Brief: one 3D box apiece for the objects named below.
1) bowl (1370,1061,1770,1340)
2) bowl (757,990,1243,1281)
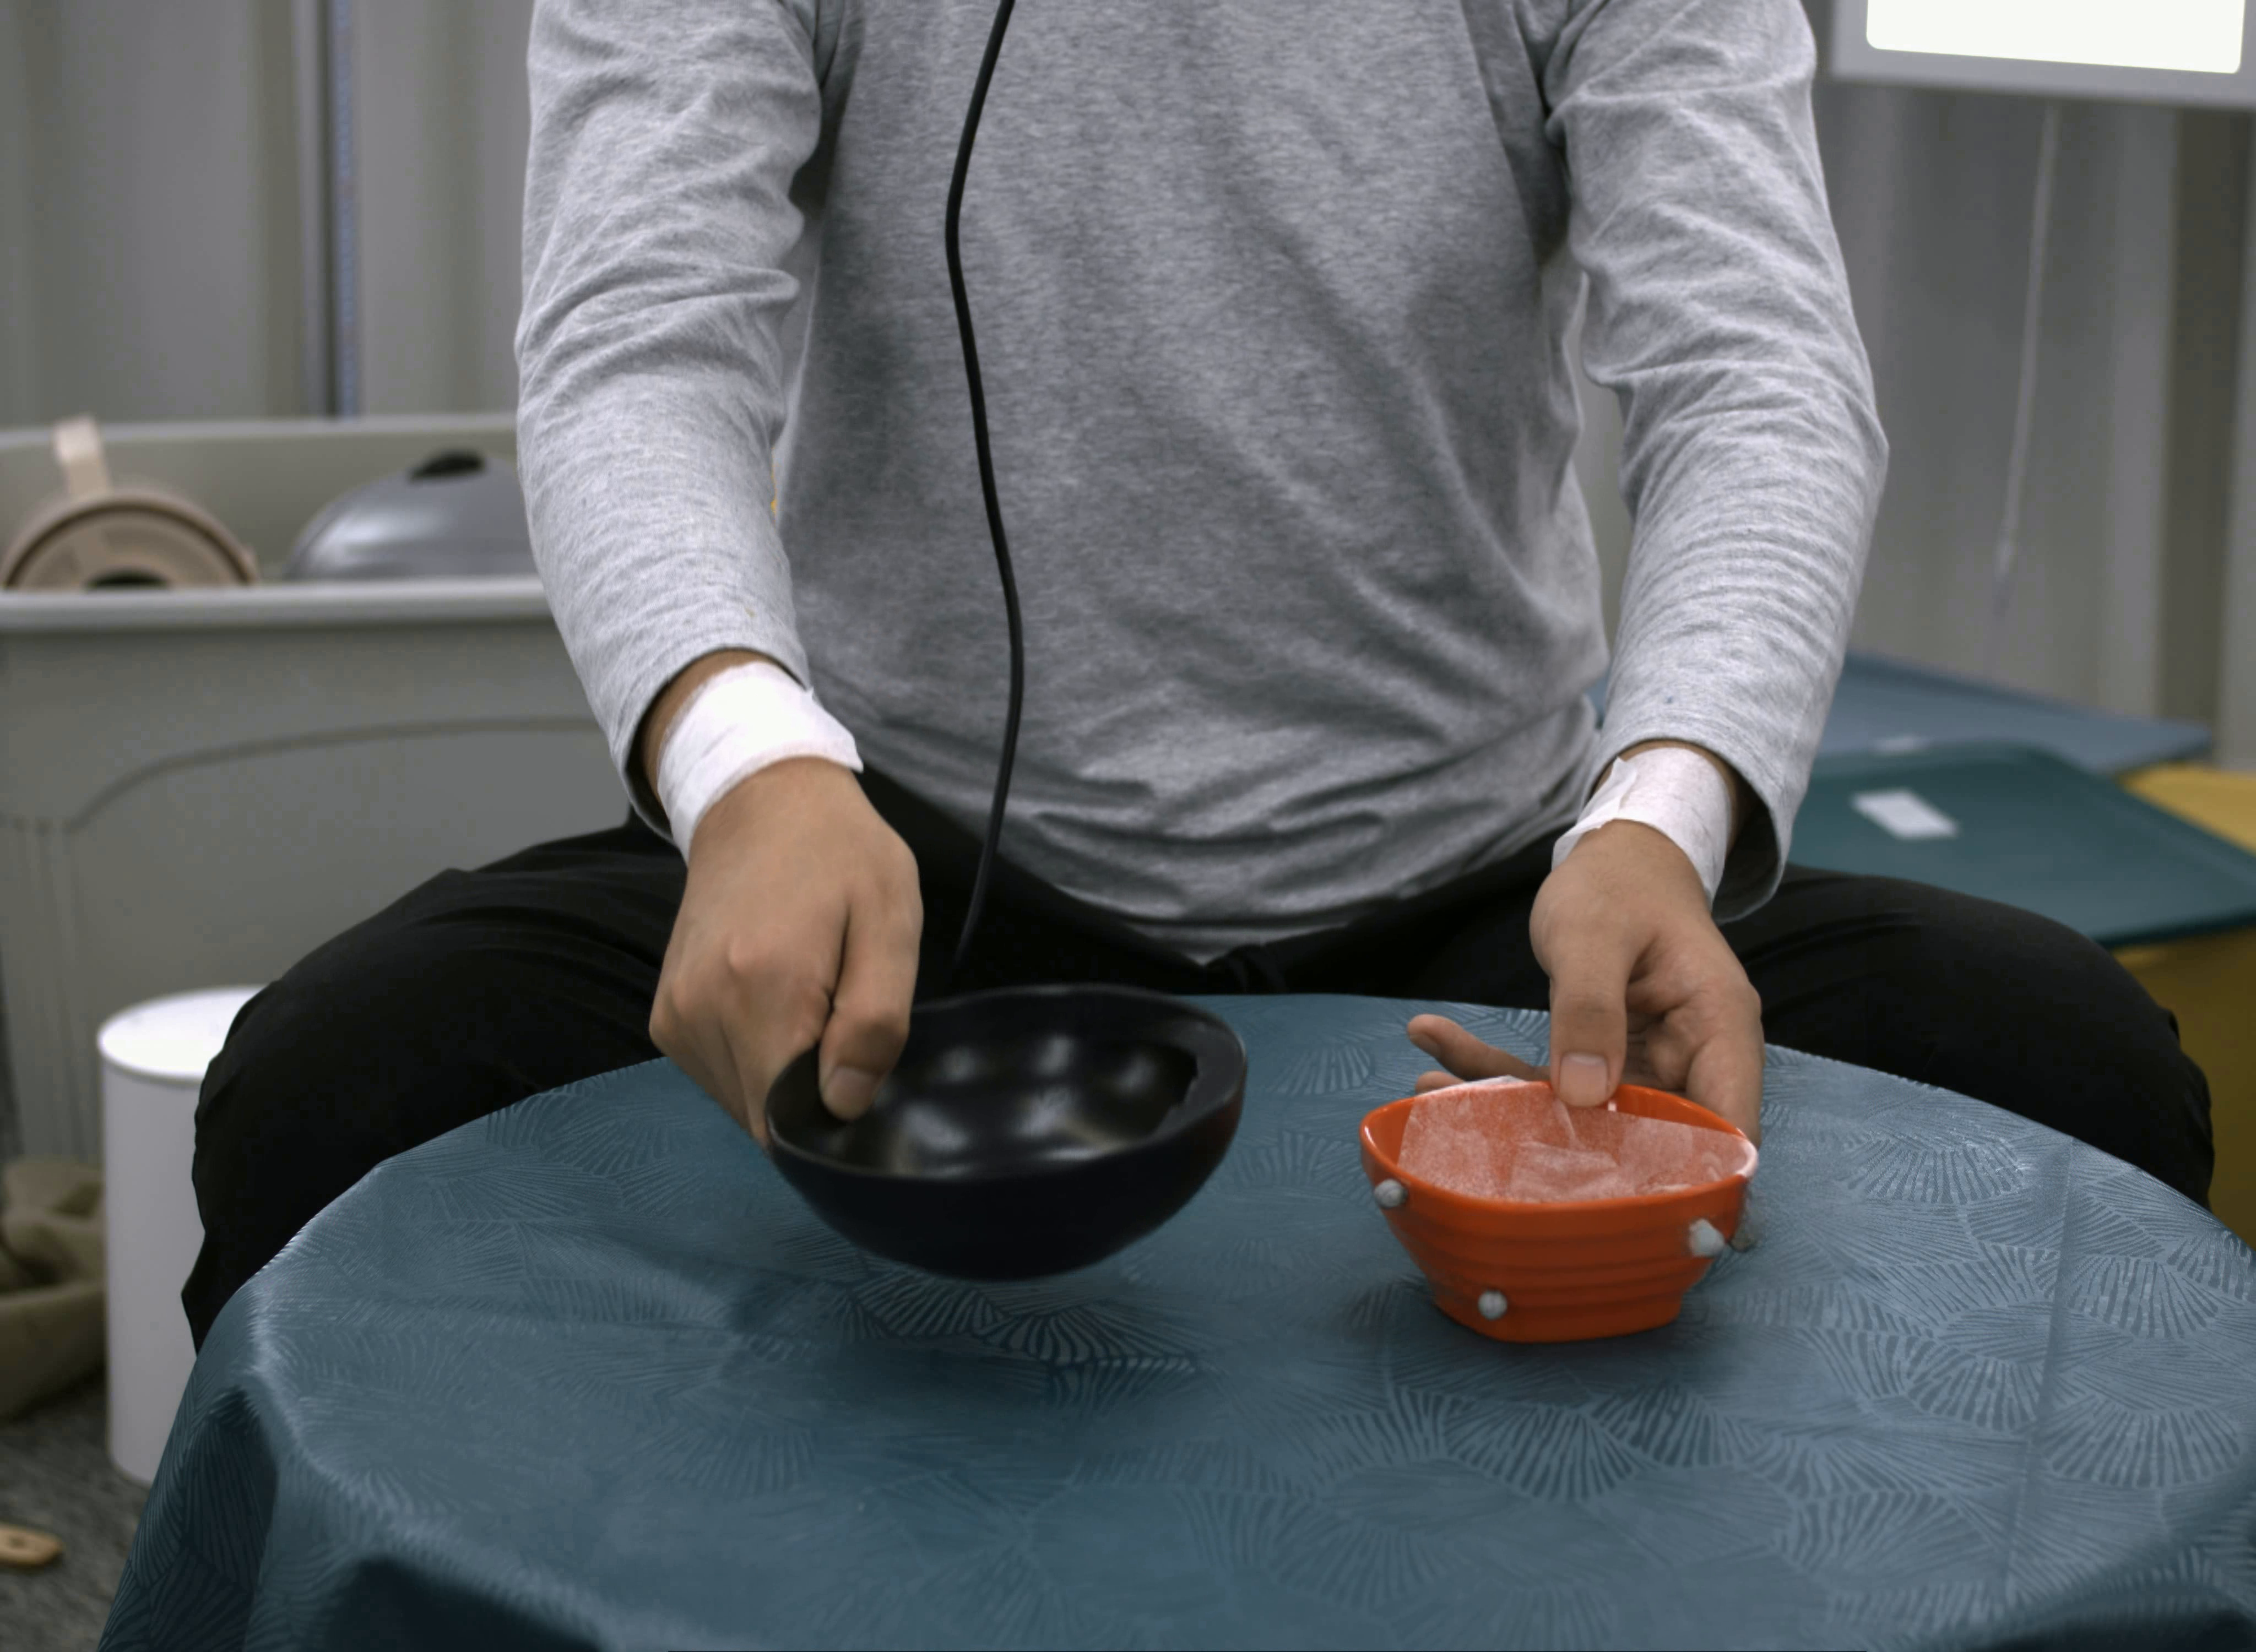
[{"bbox_3d":[0.127,0.111,1.527,0.118,0.052,0.118,1,19,0],"label":"bowl"},{"bbox_3d":[-0.034,0.093,1.494,0.139,0.050,0.139,-6,17,2],"label":"bowl"}]
